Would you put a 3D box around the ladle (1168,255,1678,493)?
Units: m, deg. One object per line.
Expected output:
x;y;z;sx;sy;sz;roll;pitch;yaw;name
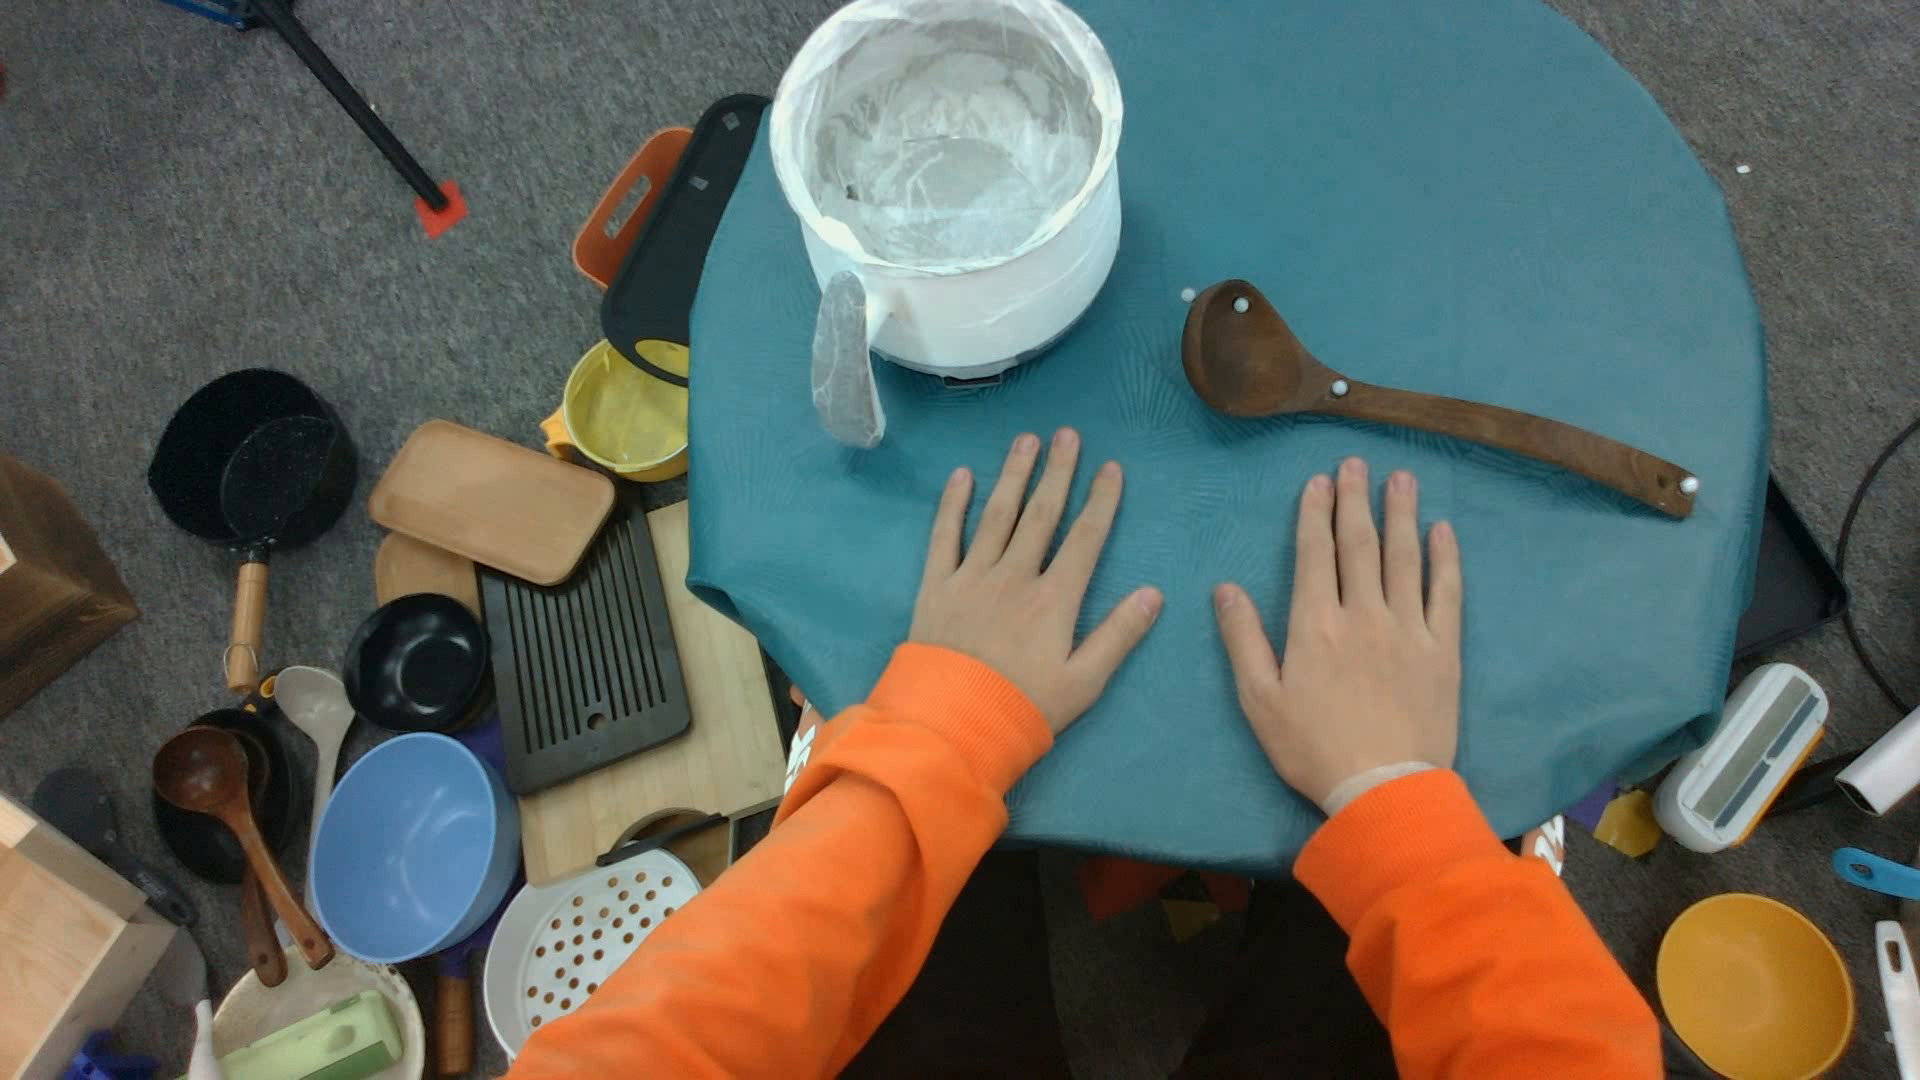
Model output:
0.243;-0.083;0.718;0.274;0.071;0.076;17;75;12;ladle

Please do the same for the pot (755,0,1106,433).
-0.022;-0.174;0.739;0.178;0.136;0.234;23;74;13;pot
